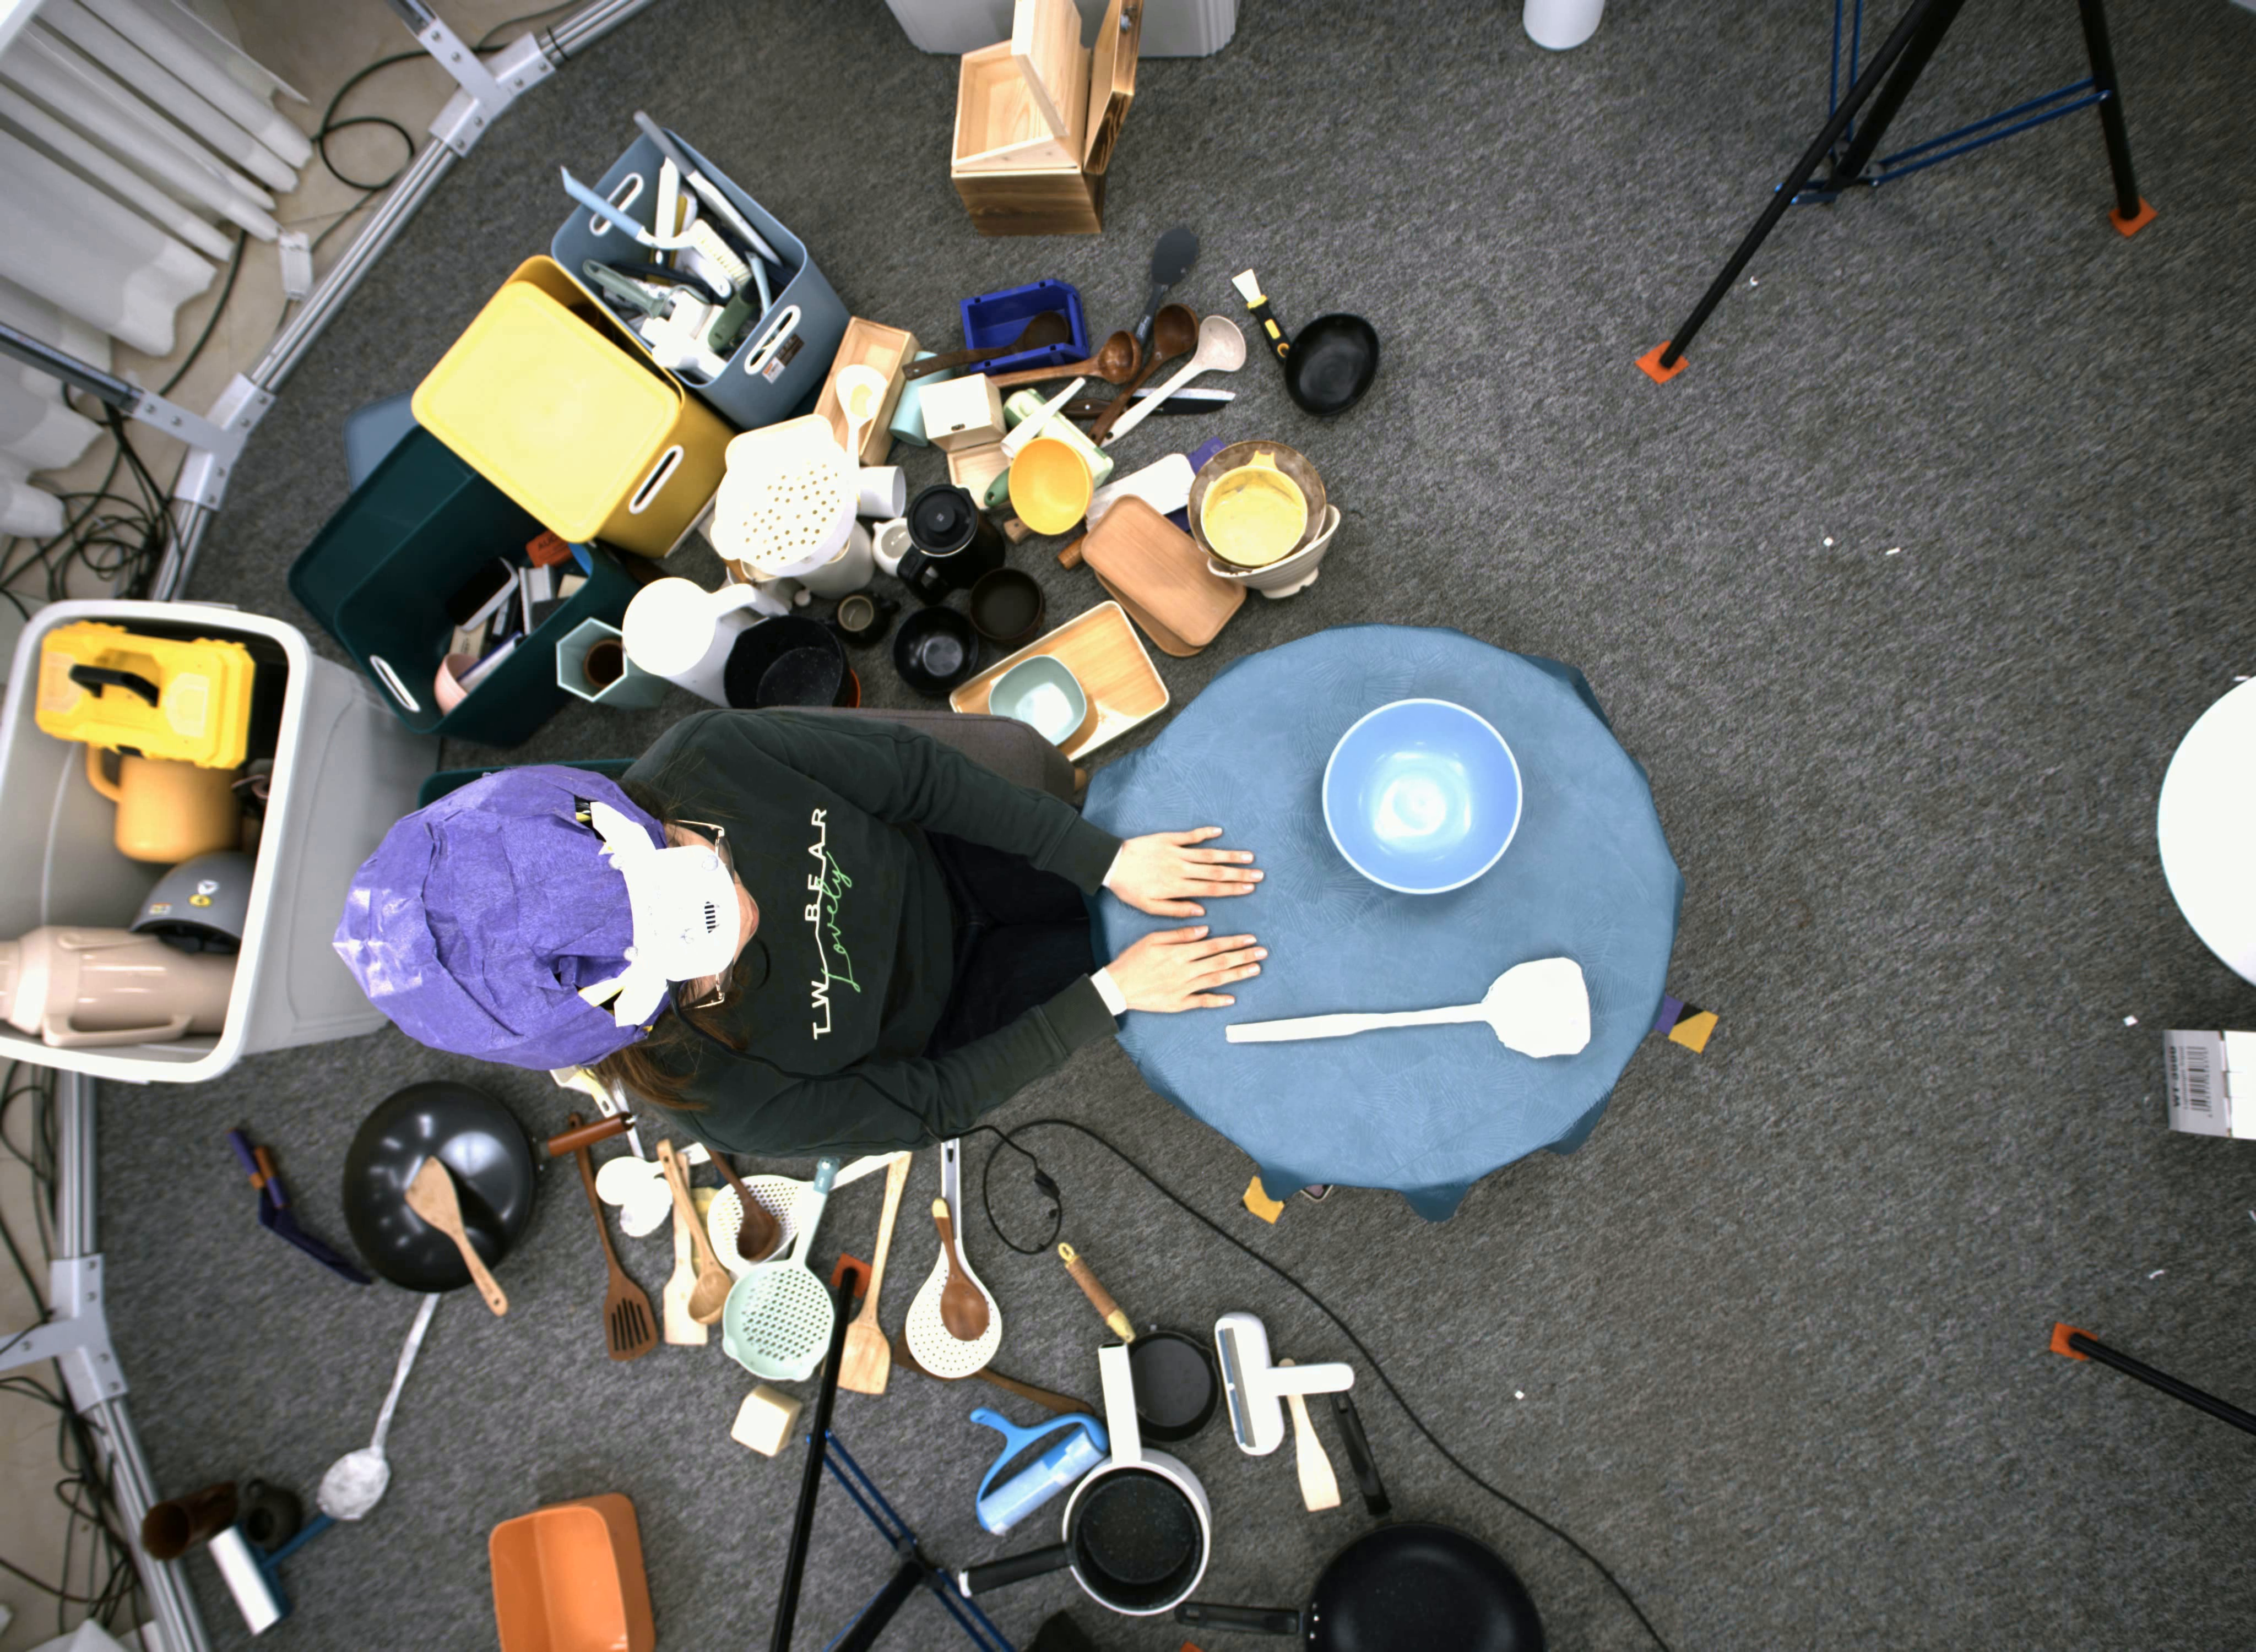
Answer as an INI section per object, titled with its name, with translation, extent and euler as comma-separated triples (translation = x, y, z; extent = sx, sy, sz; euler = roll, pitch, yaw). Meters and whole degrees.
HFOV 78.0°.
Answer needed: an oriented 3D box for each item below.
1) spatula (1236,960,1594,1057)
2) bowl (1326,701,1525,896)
[spatula]
translation = 0.292, 0.197, 1.433
extent = 0.366, 0.045, 0.098
euler = -5, 86, 10
[bowl]
translation = 0.302, -0.025, 1.417
extent = 0.197, 0.095, 0.195
euler = -1, 87, 9
